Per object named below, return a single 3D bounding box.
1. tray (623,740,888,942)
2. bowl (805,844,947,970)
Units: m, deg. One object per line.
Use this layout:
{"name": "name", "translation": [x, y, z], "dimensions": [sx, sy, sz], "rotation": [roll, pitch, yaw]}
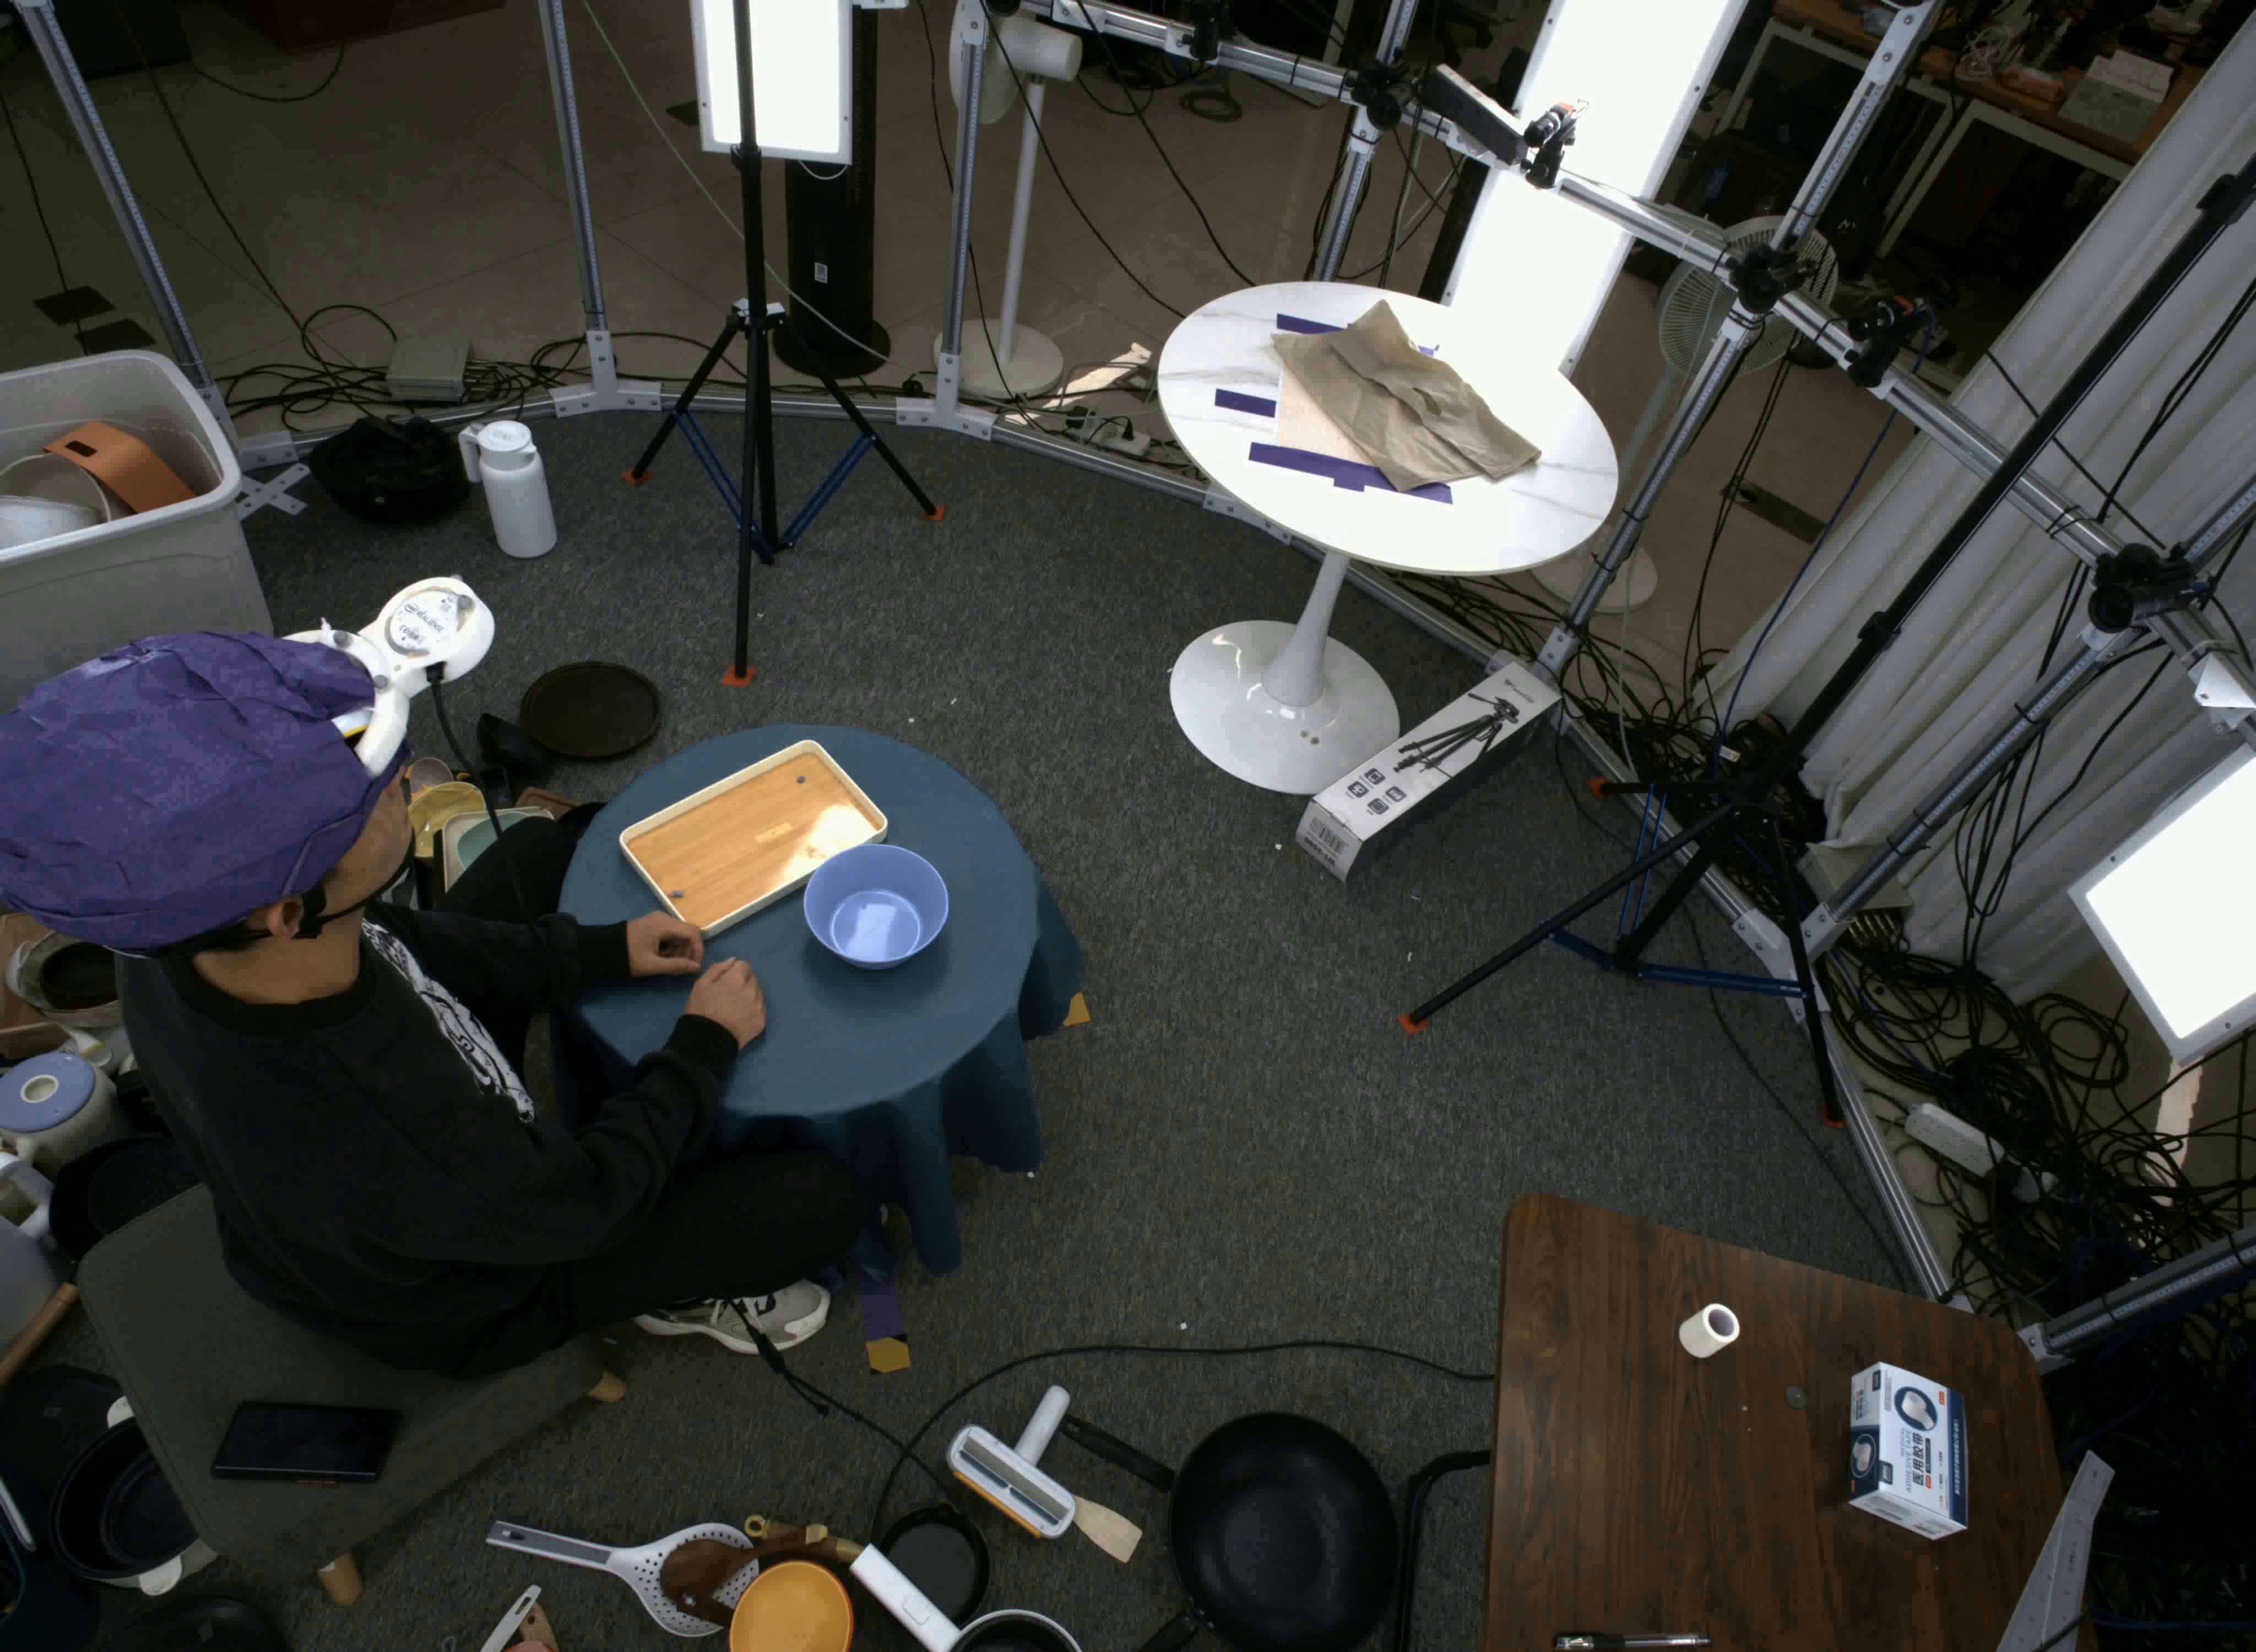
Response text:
{"name": "tray", "translation": [-0.484, 0.011, 1.688], "dimensions": [0.301, 0.028, 0.187], "rotation": [-33, 67, -32]}
{"name": "bowl", "translation": [-0.315, 0.111, 1.629], "dimensions": [0.175, 0.072, 0.173], "rotation": [8, 51, -8]}
